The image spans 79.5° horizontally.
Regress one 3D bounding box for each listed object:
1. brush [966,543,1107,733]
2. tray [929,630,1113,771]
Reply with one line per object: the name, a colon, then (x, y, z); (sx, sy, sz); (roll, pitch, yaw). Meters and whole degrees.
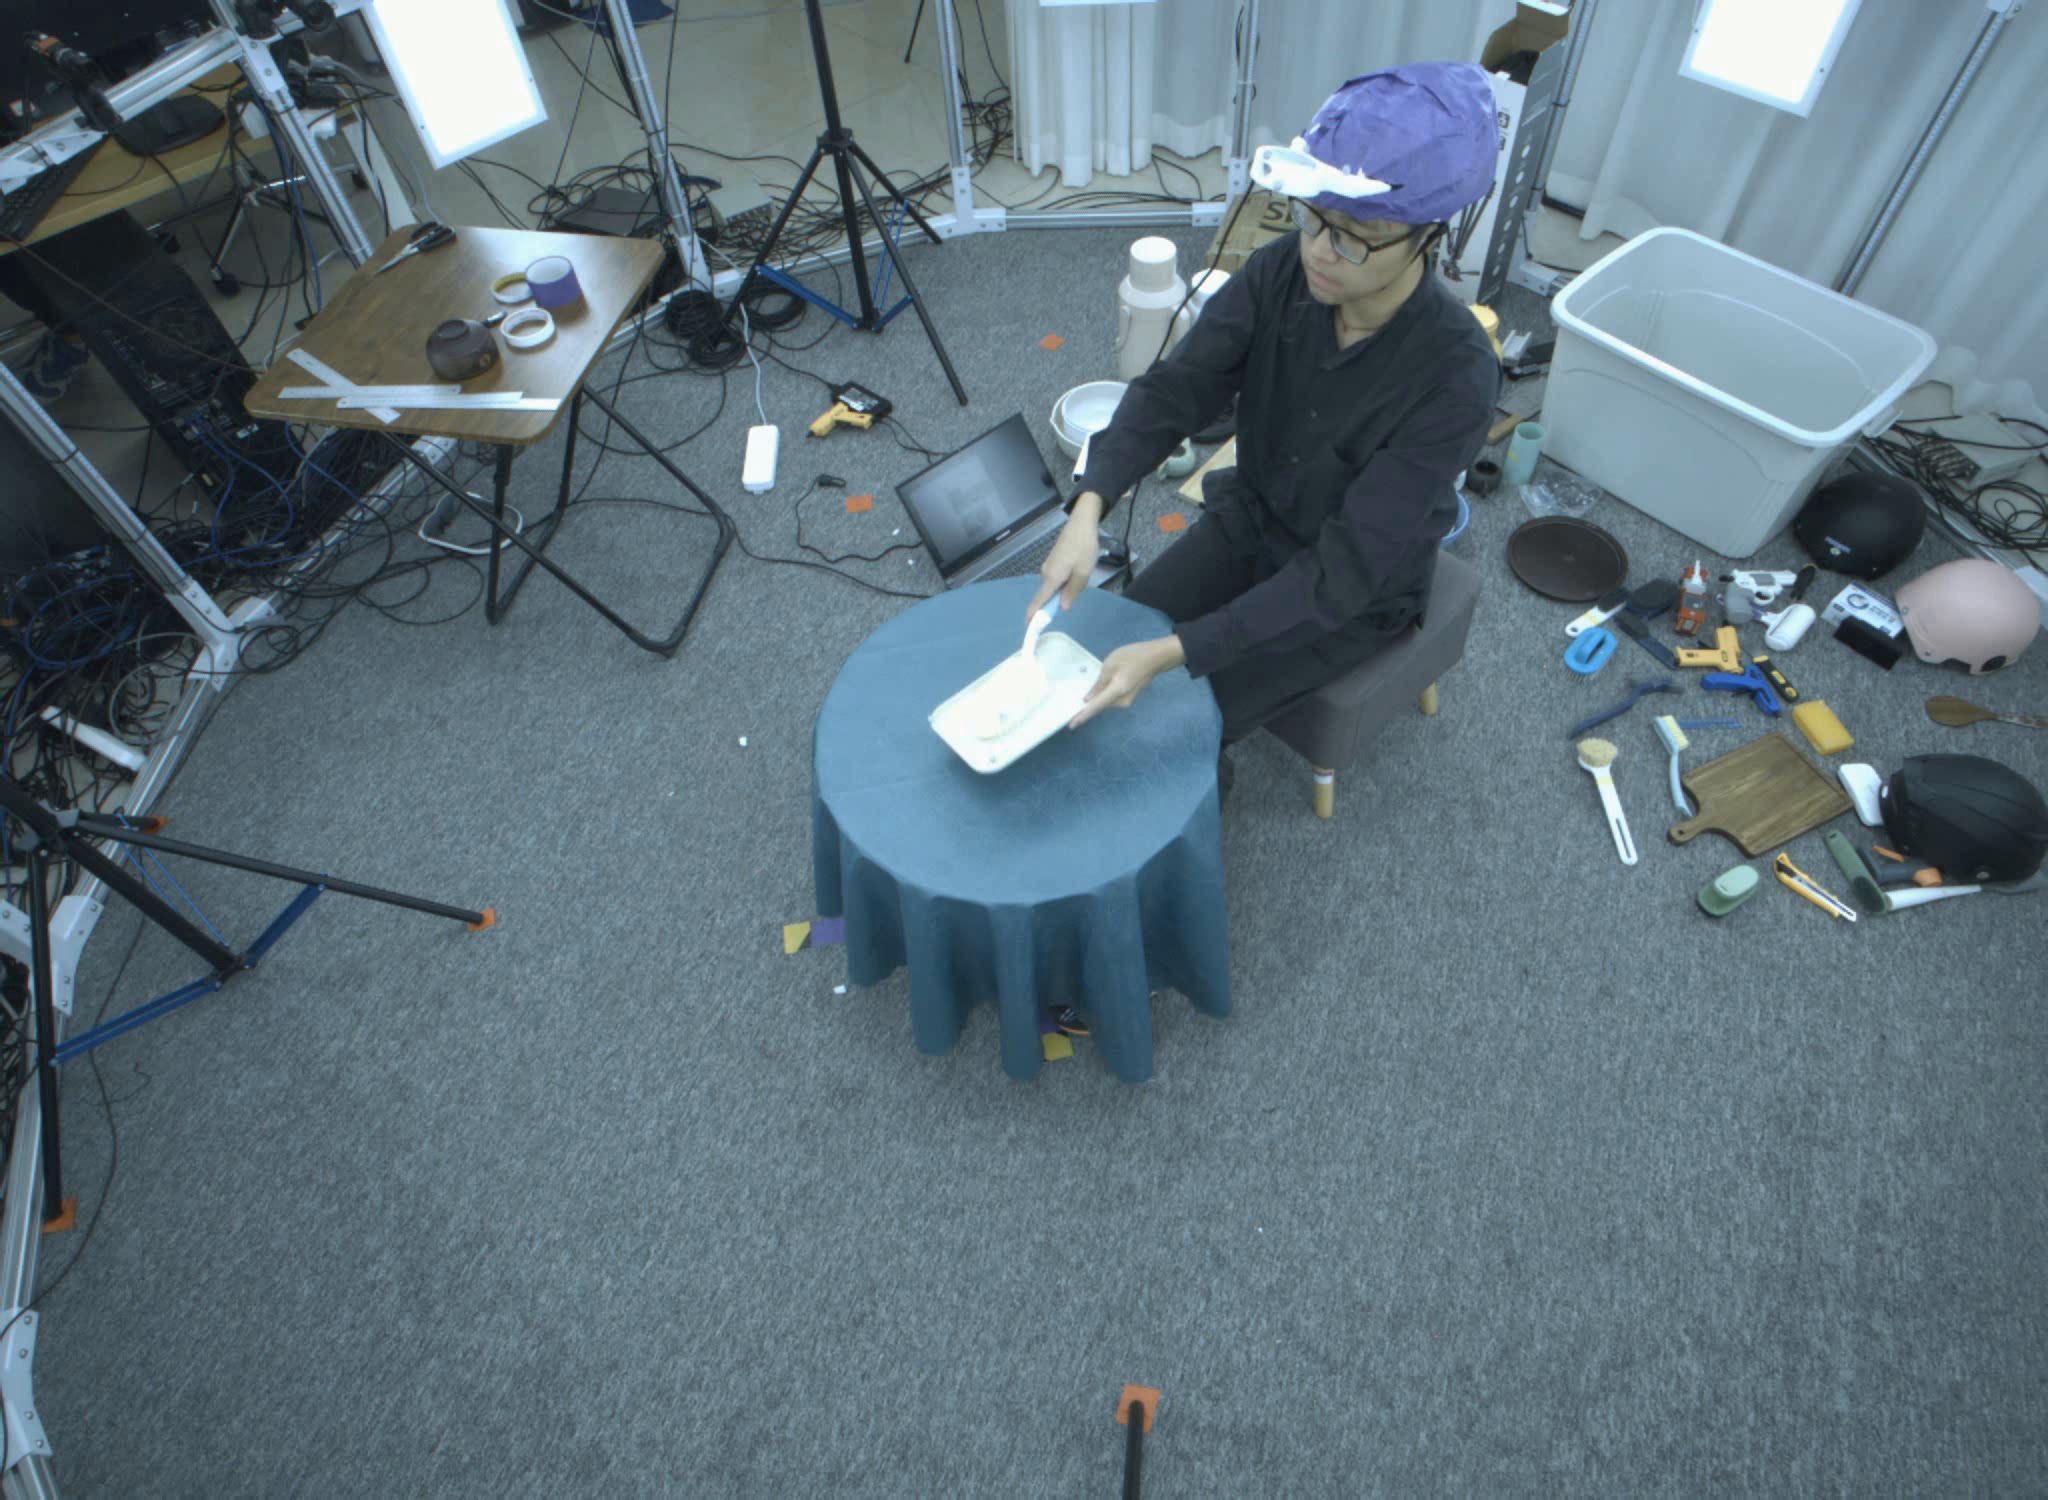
brush: (0.034, -0.151, 1.732); (0.083, 0.084, 0.326); (36, 77, 1)
tray: (-0.004, -0.070, 1.724); (0.241, 0.018, 0.167); (-35, 47, -13)
